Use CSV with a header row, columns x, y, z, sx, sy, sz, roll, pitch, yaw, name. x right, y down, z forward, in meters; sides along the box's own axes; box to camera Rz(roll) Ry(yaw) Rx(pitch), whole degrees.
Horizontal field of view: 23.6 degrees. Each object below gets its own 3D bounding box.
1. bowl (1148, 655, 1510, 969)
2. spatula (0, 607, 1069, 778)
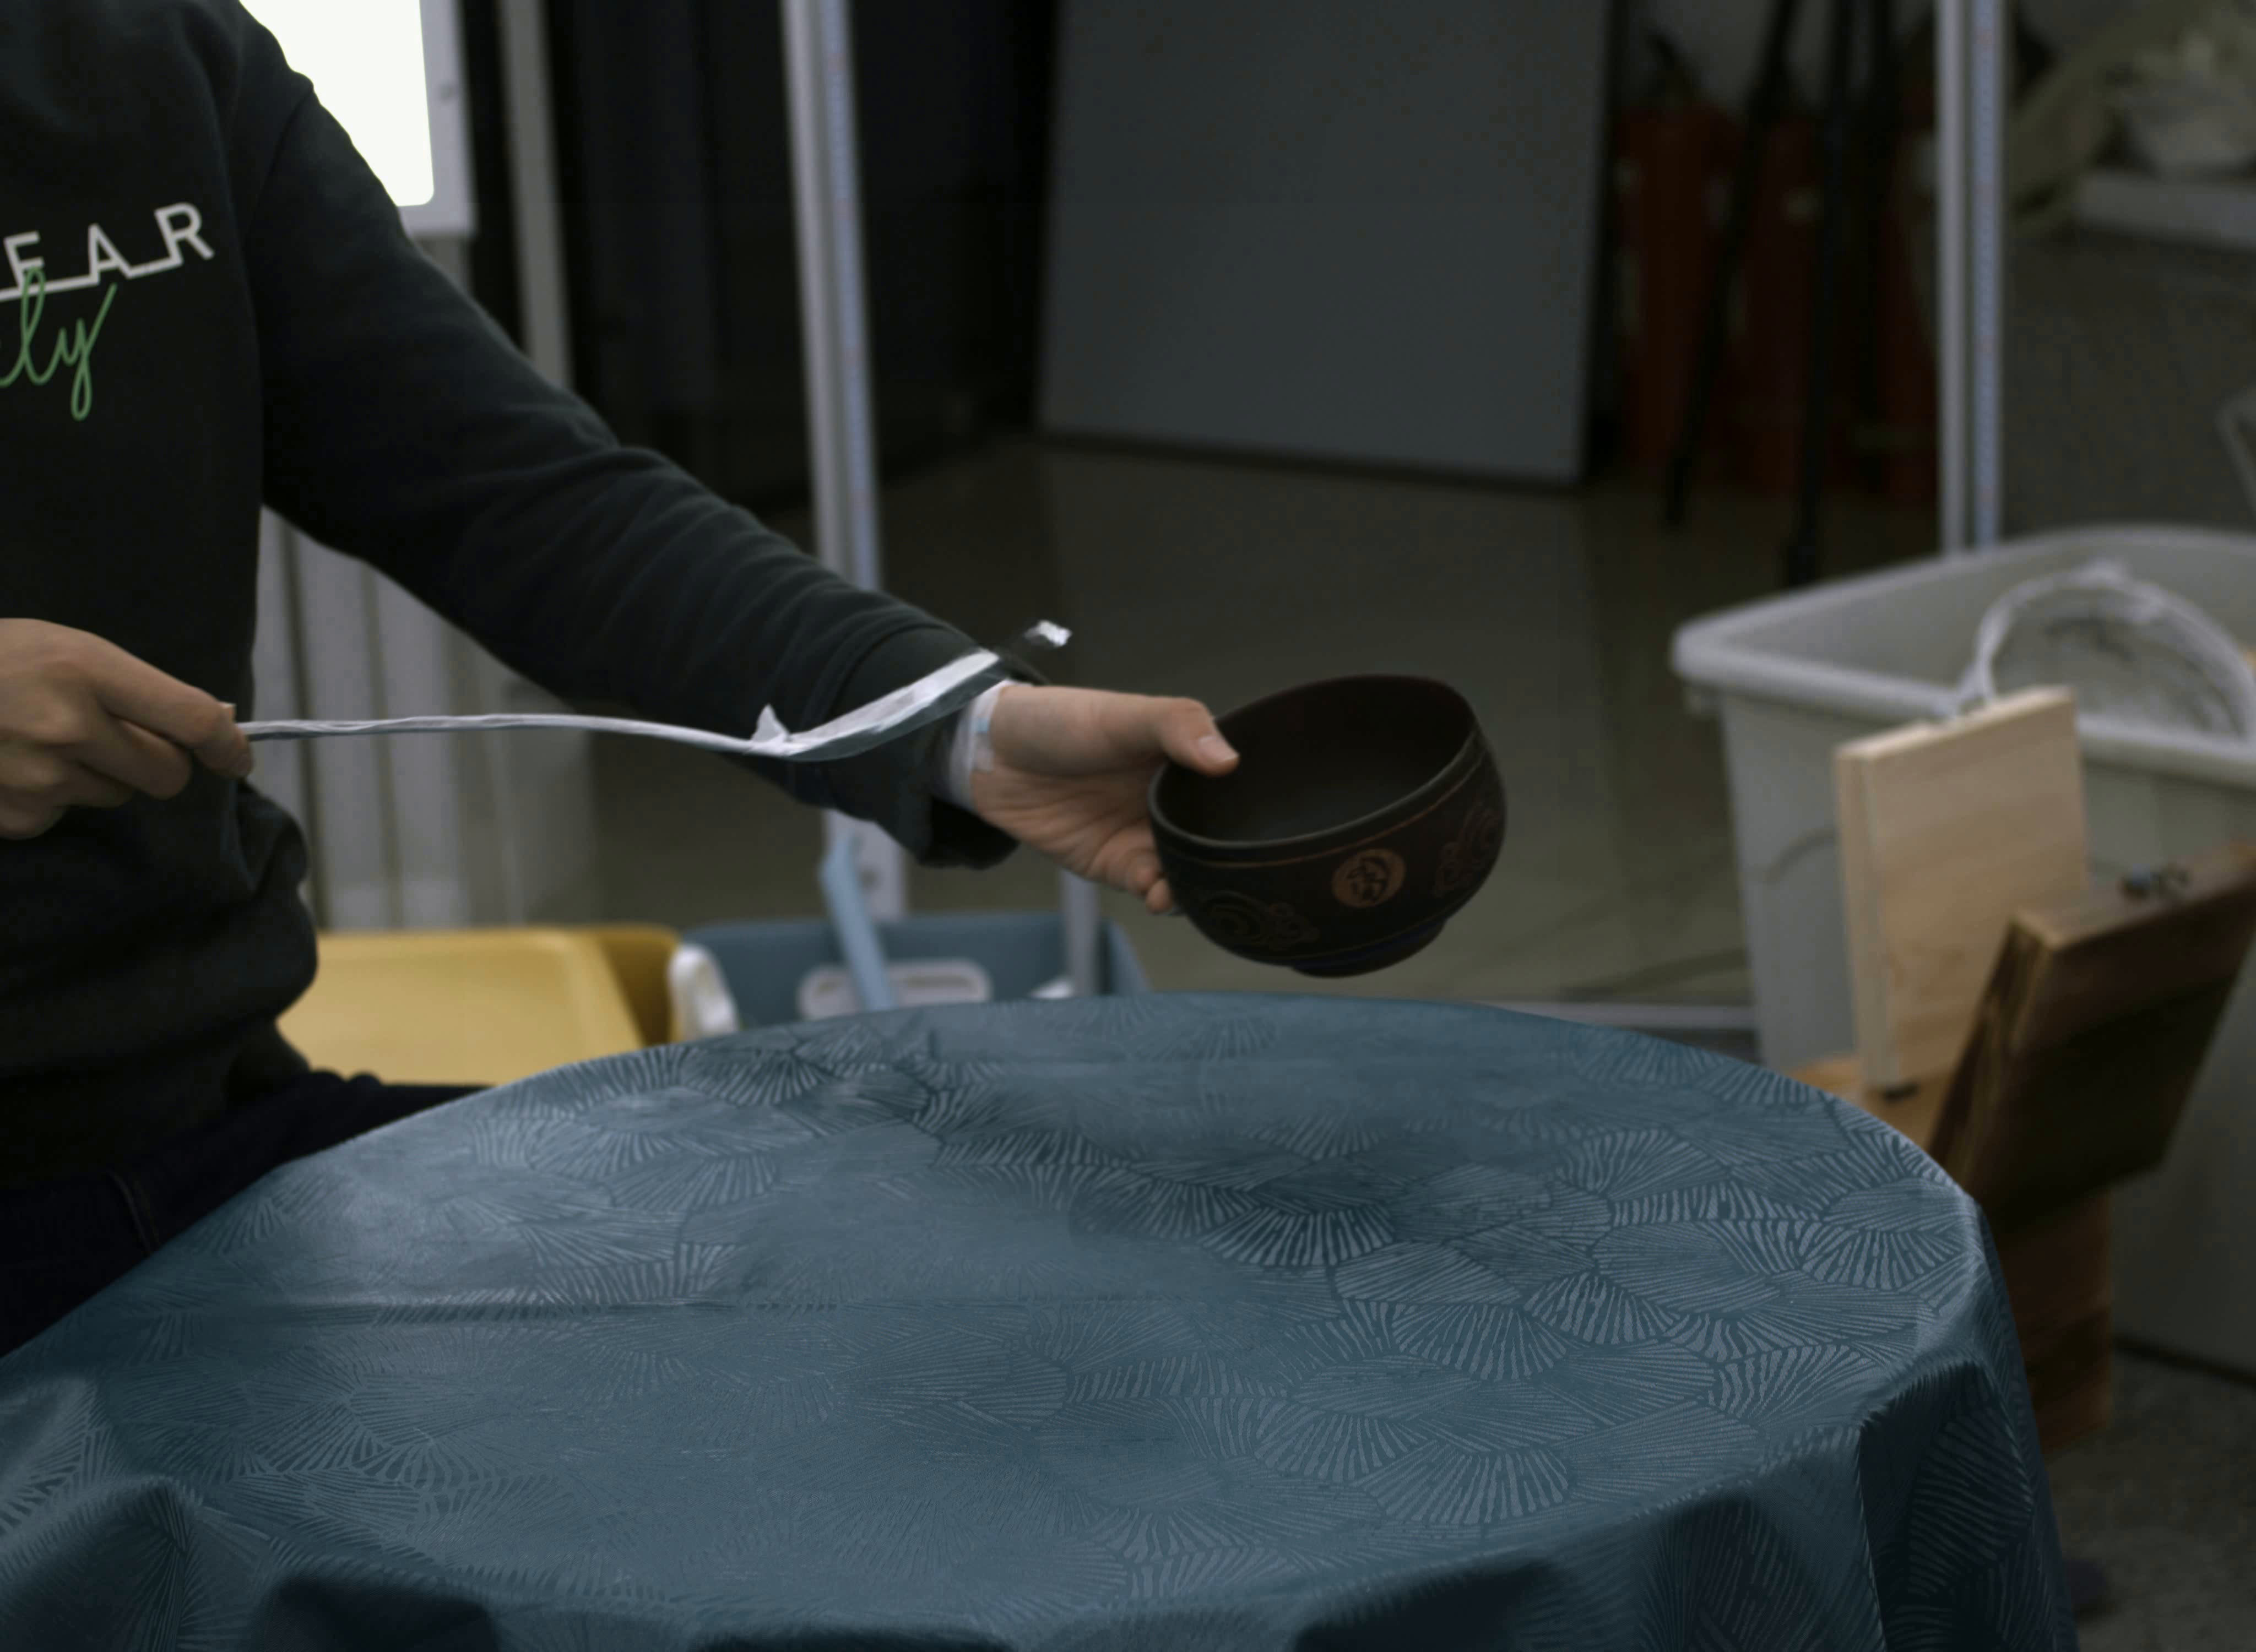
x,y,z,sx,sy,sz,roll,pitch,yaw,name
0.070,0.002,1.757,0.117,0.070,0.118,-16,24,6,bowl
-0.197,-0.037,1.675,0.360,0.045,0.099,-2,7,1,spatula
